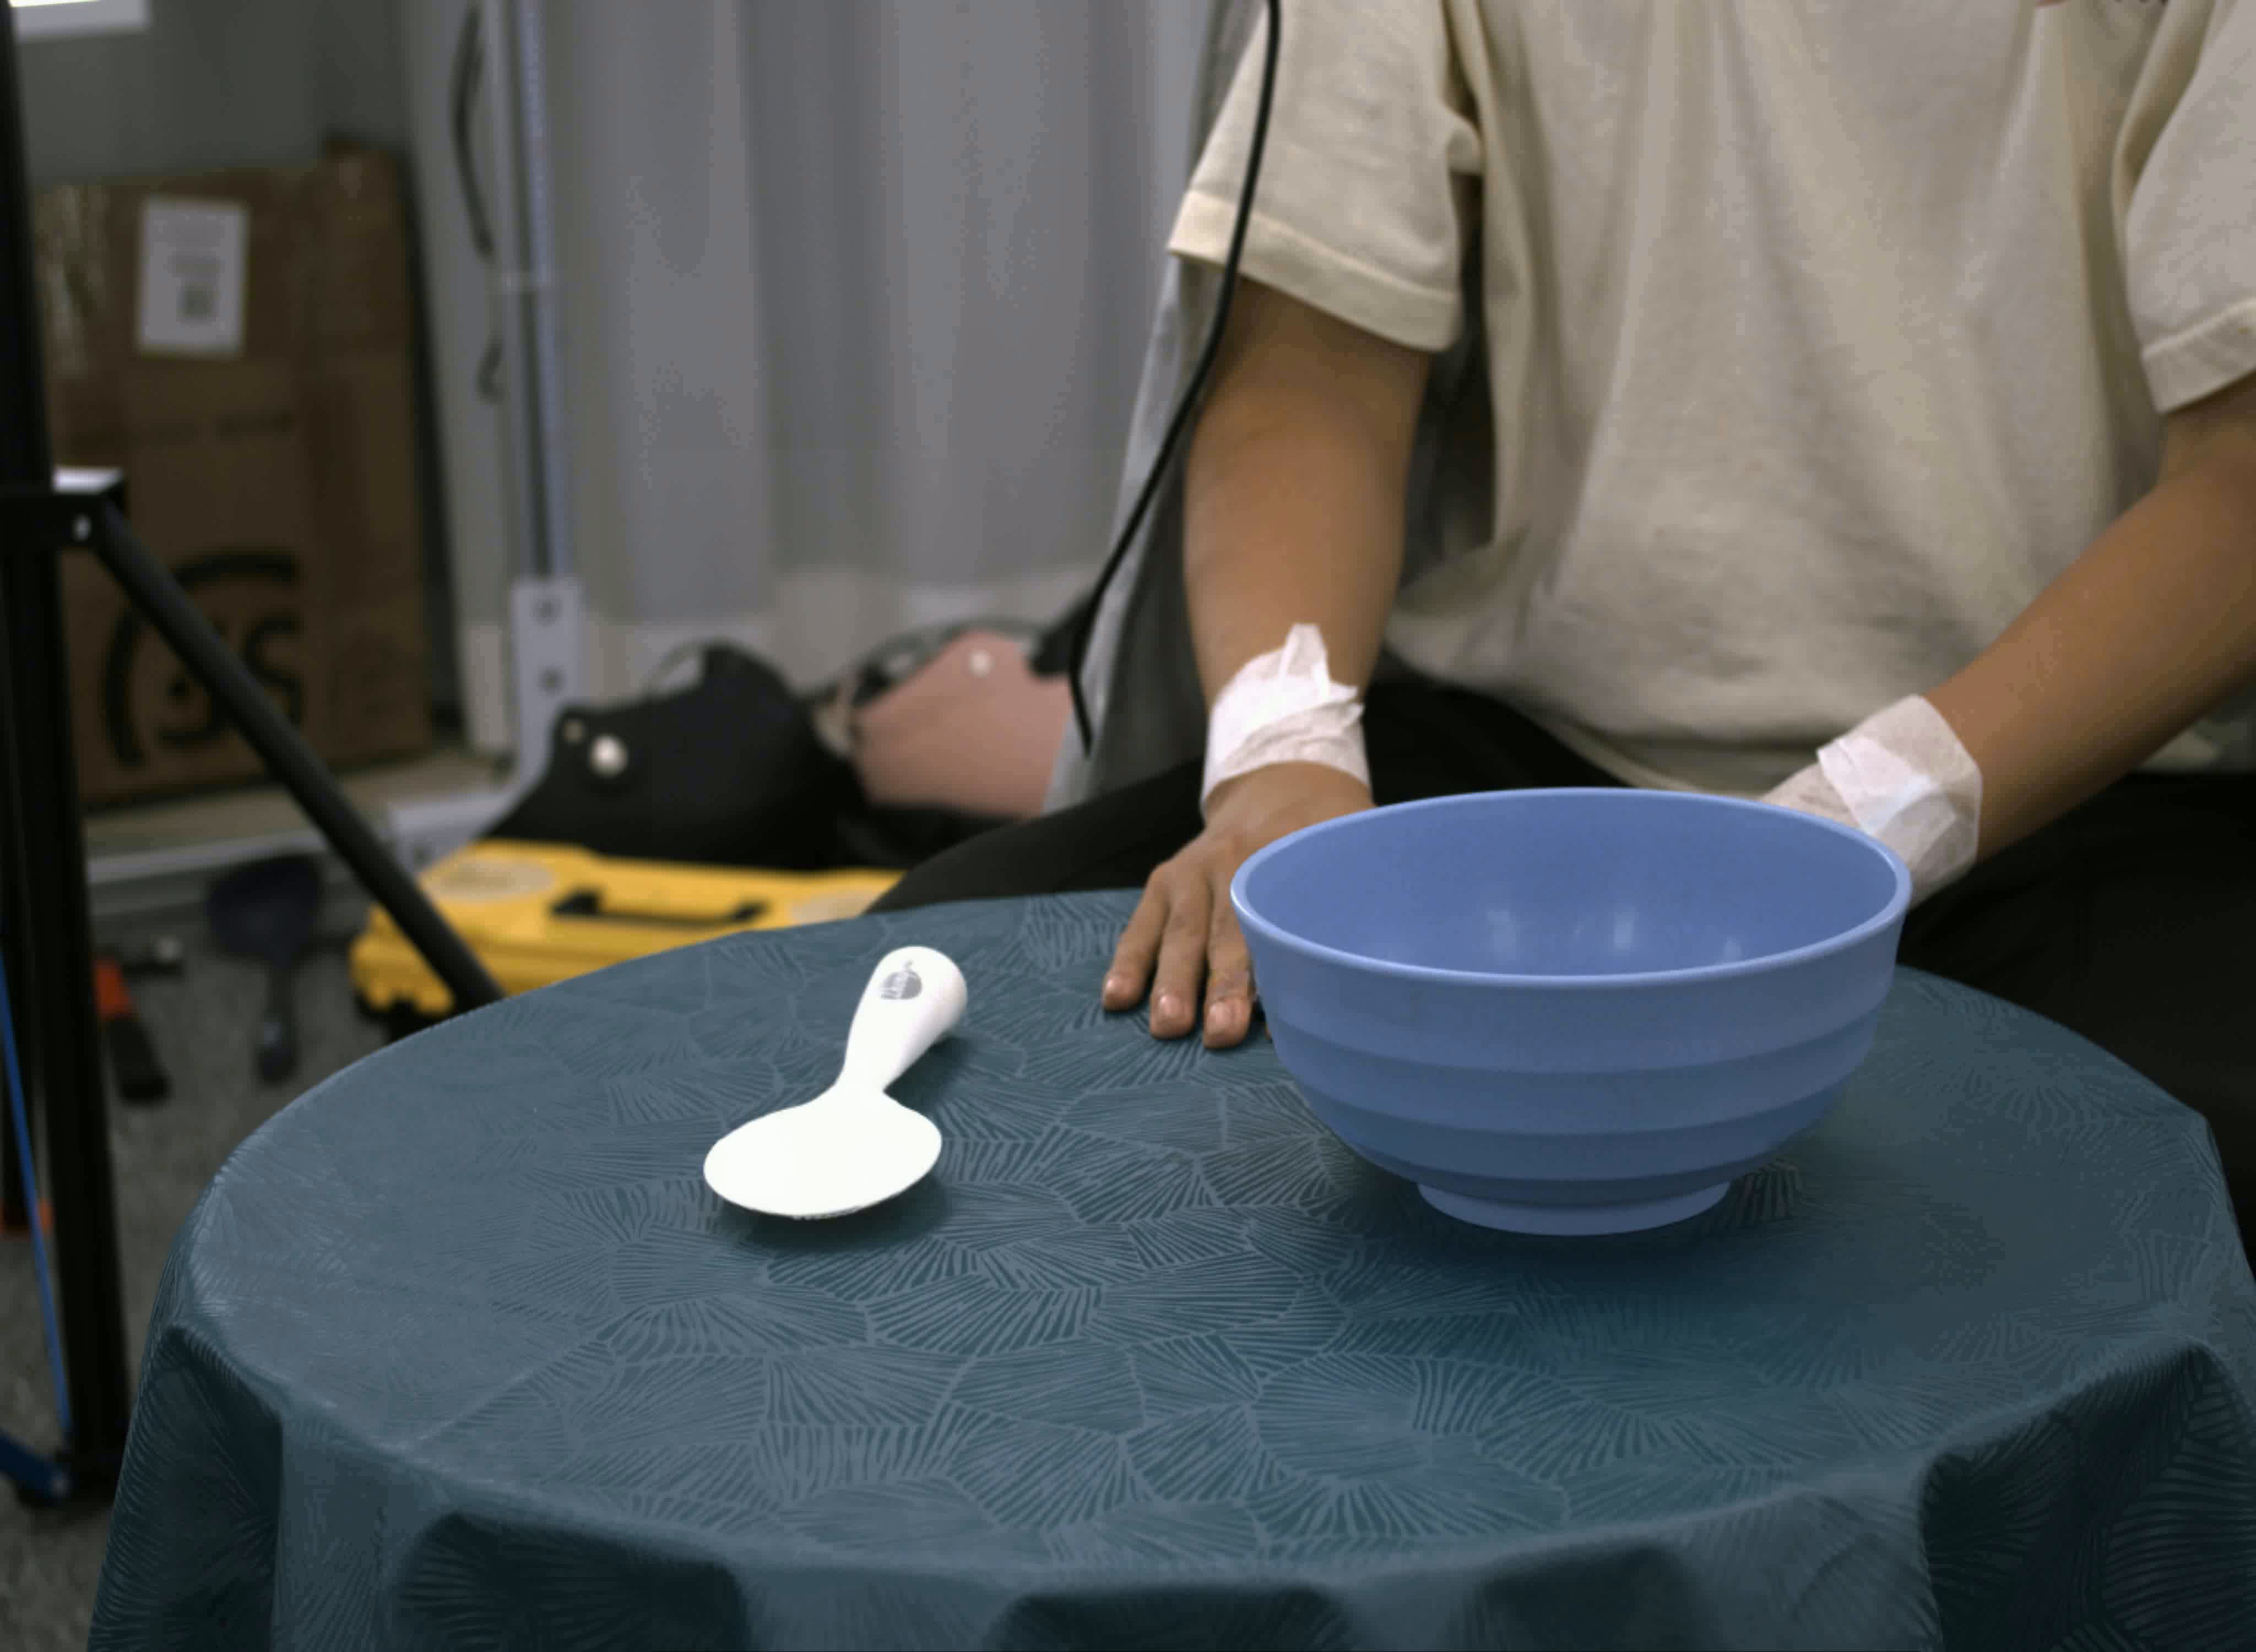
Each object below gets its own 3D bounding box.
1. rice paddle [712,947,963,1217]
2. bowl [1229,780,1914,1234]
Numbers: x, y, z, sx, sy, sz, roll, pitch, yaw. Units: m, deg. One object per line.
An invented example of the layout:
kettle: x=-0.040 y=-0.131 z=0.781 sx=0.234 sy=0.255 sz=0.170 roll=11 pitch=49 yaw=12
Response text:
rice paddle: x=-0.079 y=0.080 z=1.613 sx=0.069 sy=0.029 sz=0.205 roll=-2 pitch=15 yaw=8
bowl: x=0.129 y=0.058 z=1.533 sx=0.195 sy=0.095 sz=0.197 roll=-3 pitch=16 yaw=0
